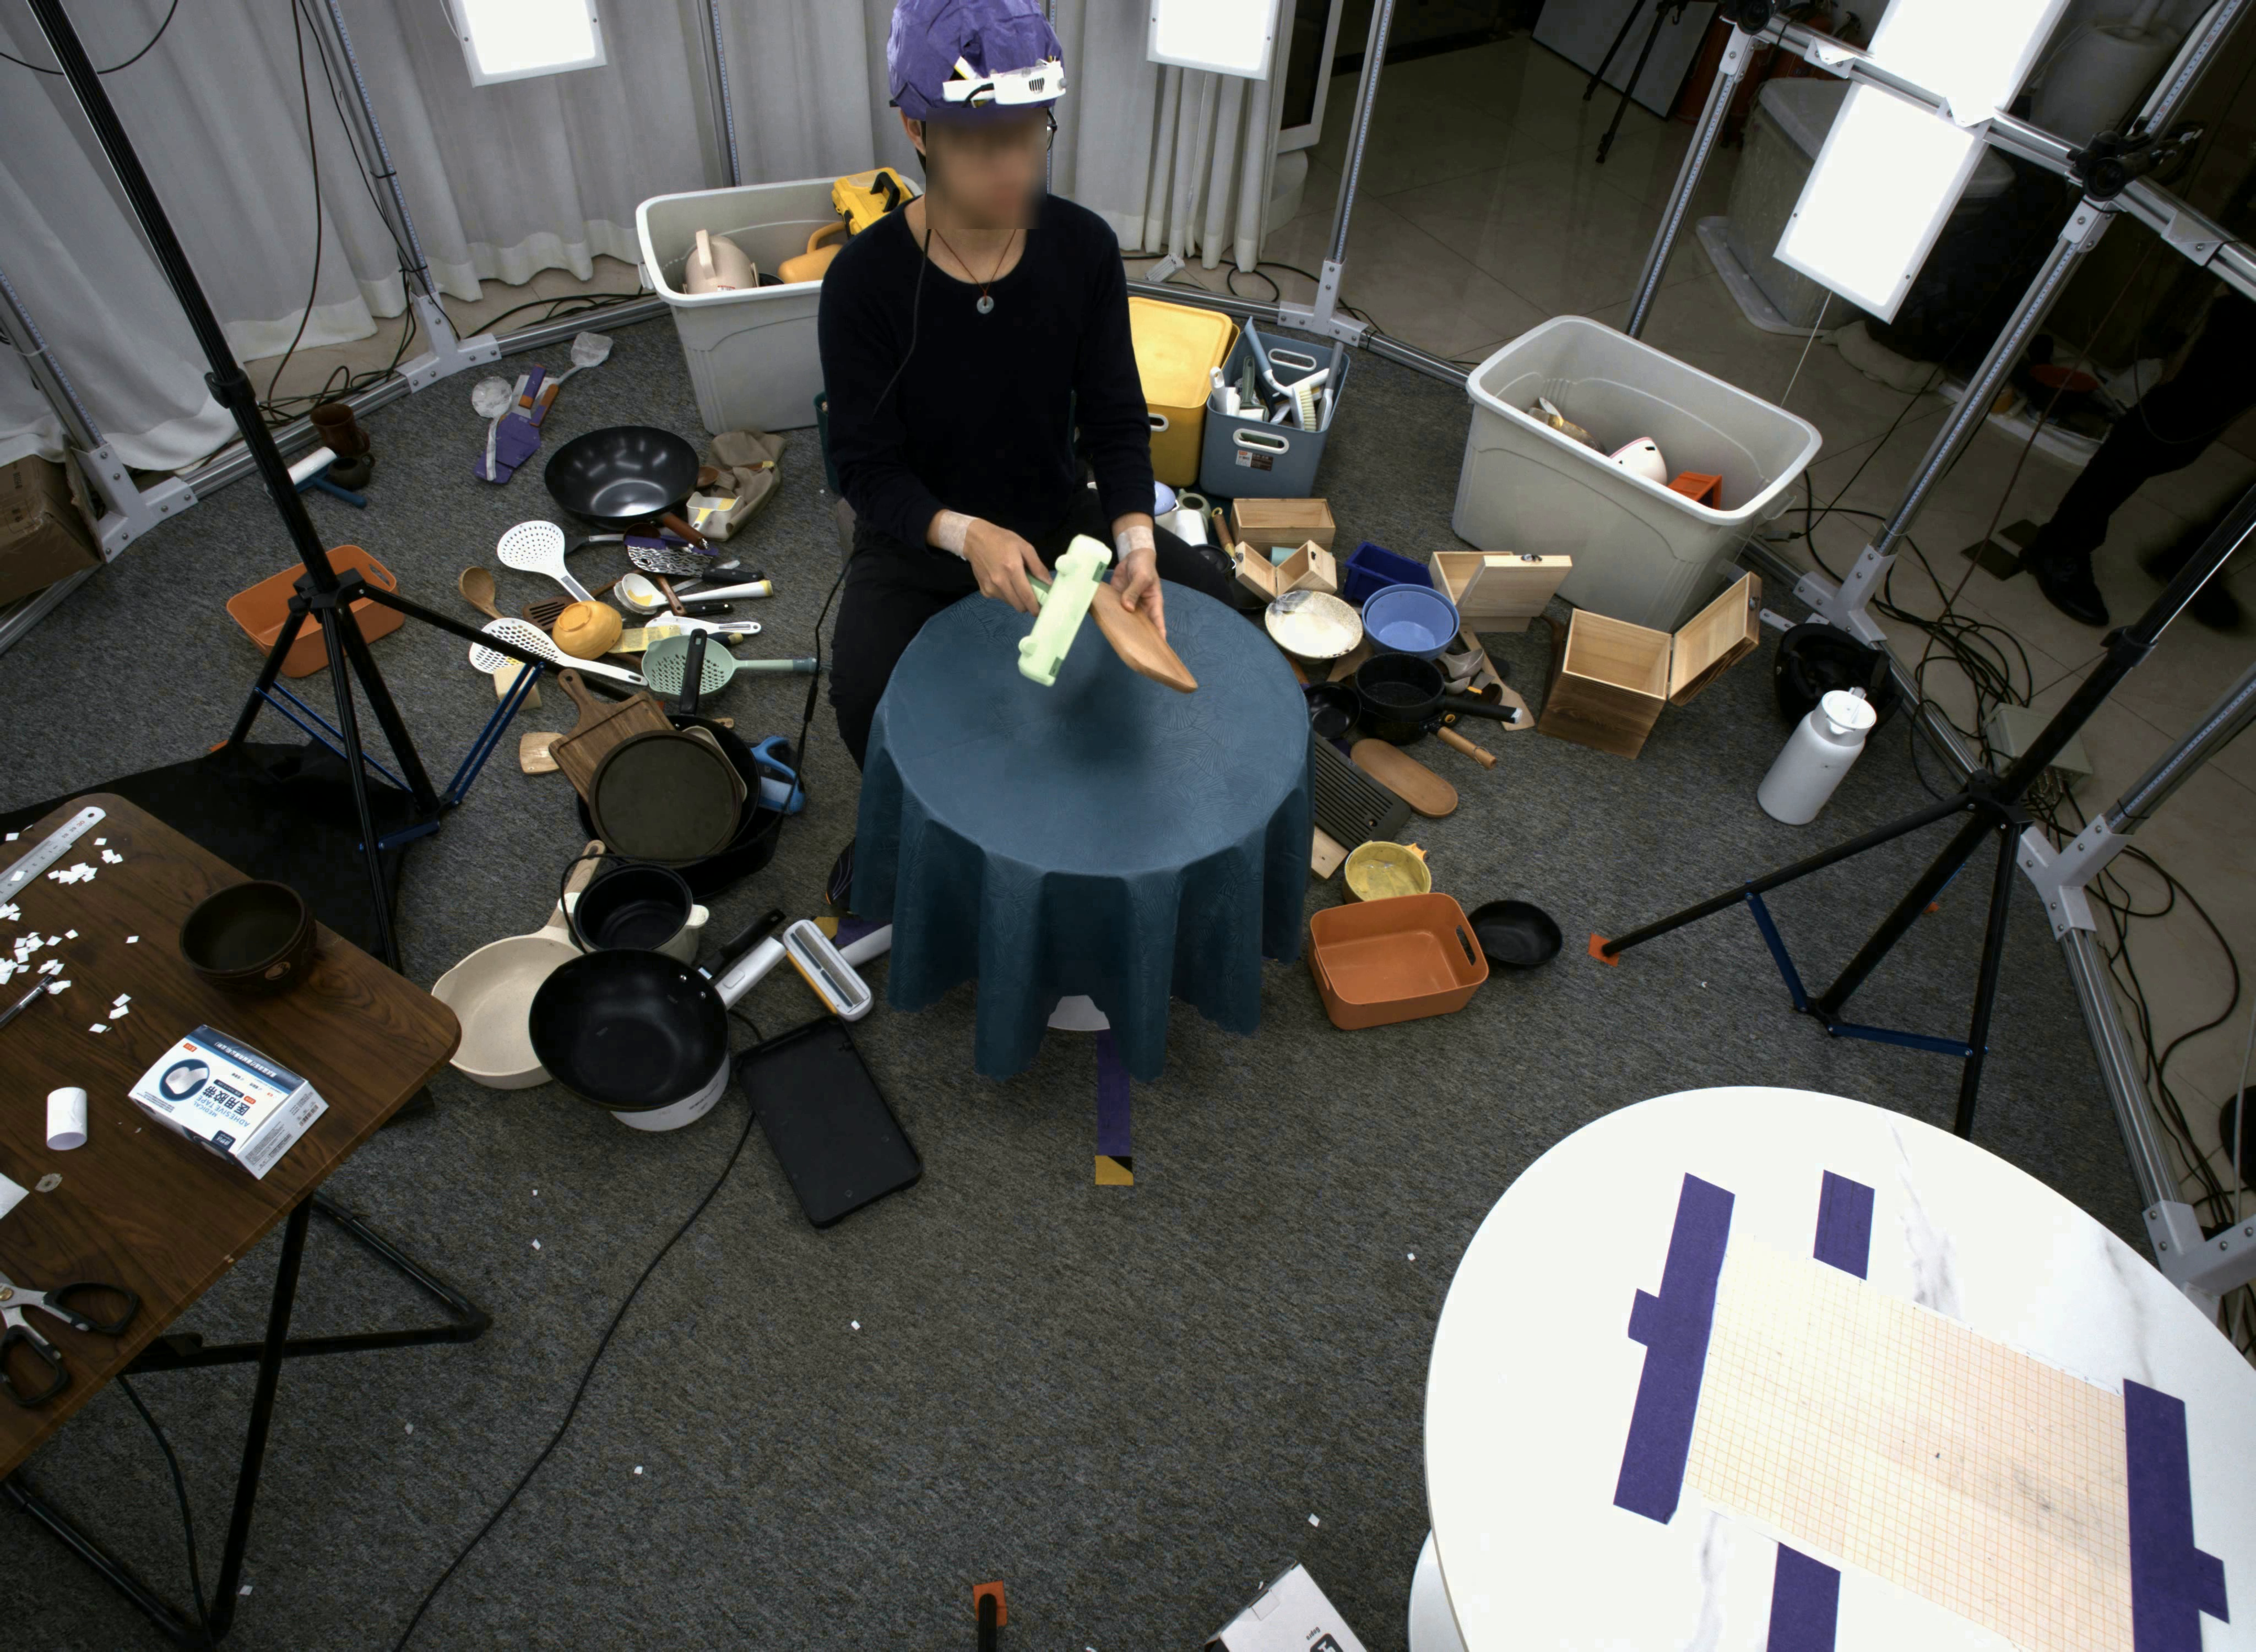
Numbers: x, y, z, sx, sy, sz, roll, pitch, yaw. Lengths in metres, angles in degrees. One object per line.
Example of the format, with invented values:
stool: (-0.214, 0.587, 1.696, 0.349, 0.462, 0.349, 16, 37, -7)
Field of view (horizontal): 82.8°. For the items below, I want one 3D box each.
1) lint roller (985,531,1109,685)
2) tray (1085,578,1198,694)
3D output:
lint roller: (-0.133, -0.312, 1.692, 0.185, 0.197, 0.082, 32, 16, 22)
tray: (0.003, -0.259, 1.694, 0.129, 0.022, 0.257, 23, 25, -37)
